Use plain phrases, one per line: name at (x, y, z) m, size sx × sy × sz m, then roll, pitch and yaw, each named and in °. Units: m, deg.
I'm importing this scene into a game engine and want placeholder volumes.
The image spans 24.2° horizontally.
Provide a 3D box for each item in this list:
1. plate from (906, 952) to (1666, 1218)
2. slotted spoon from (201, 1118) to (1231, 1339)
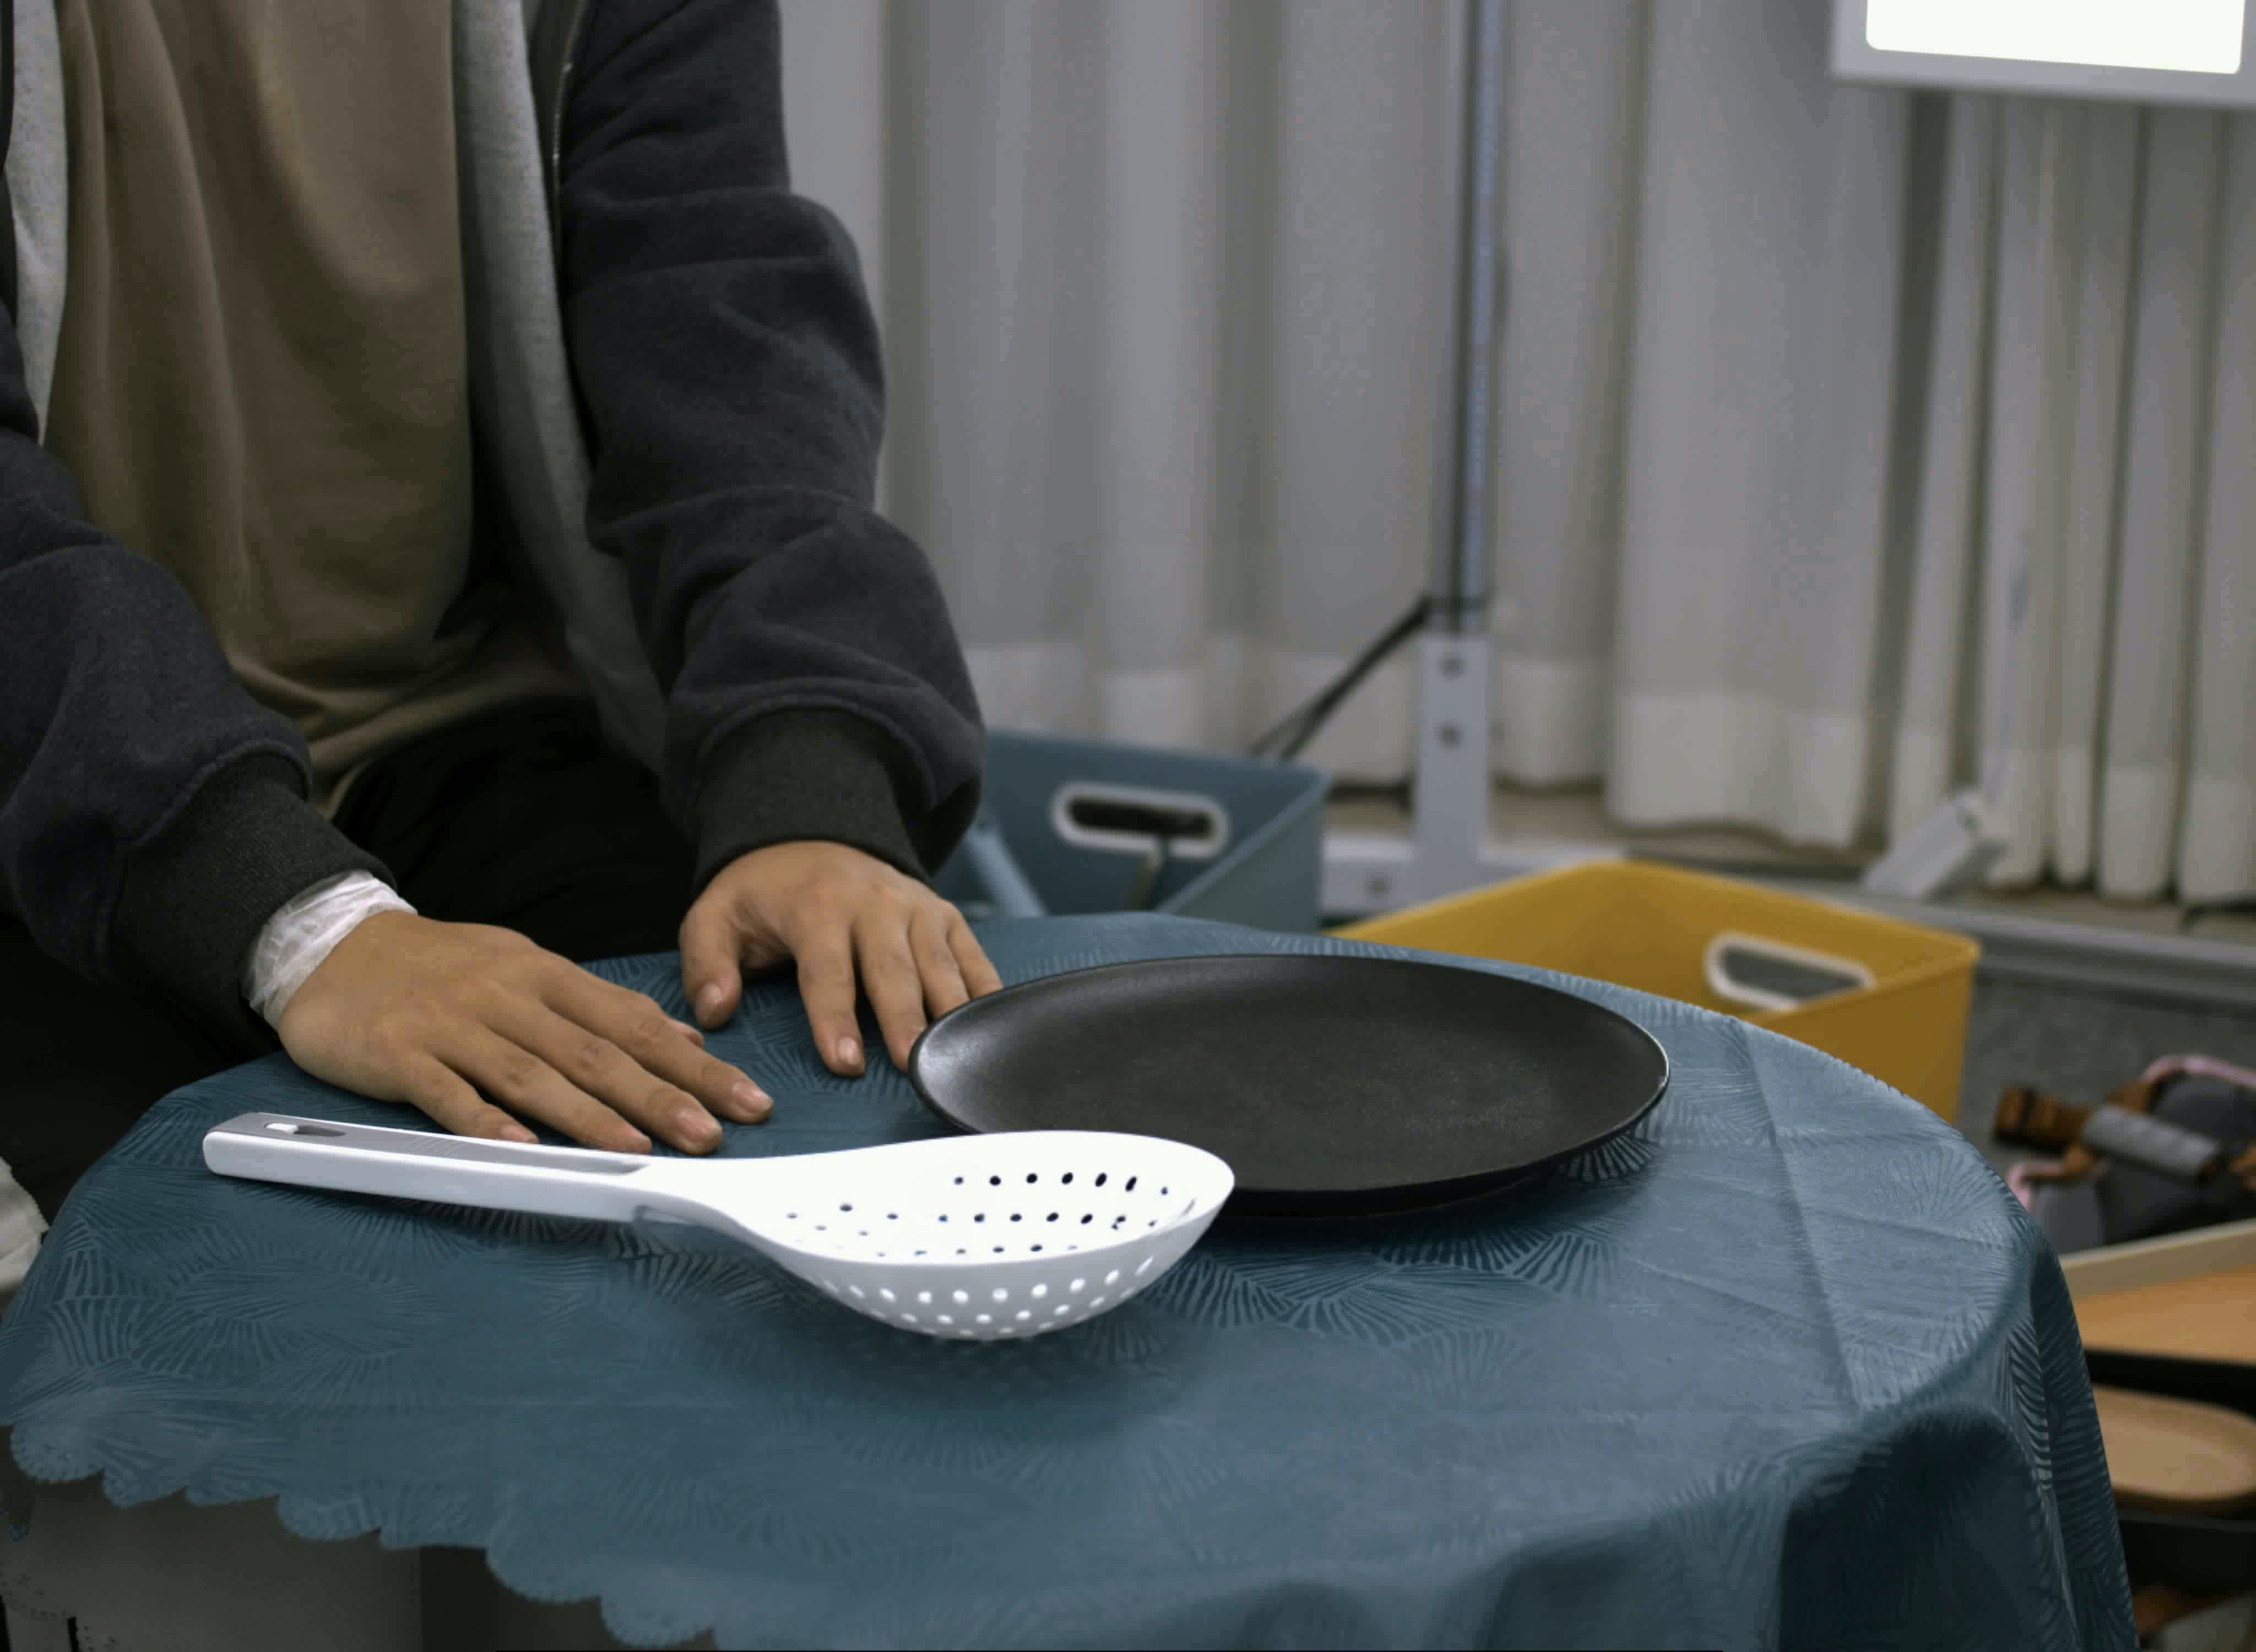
plate at (0.050, 0.085, 1.681) m, size 0.243 × 0.023 × 0.243 m, roll 1°, pitch 16°, yaw 0°
slotted spoon at (-0.131, 0.107, 1.550) m, size 0.346 × 0.046 × 0.136 m, roll 8°, pitch 15°, yaw 28°
